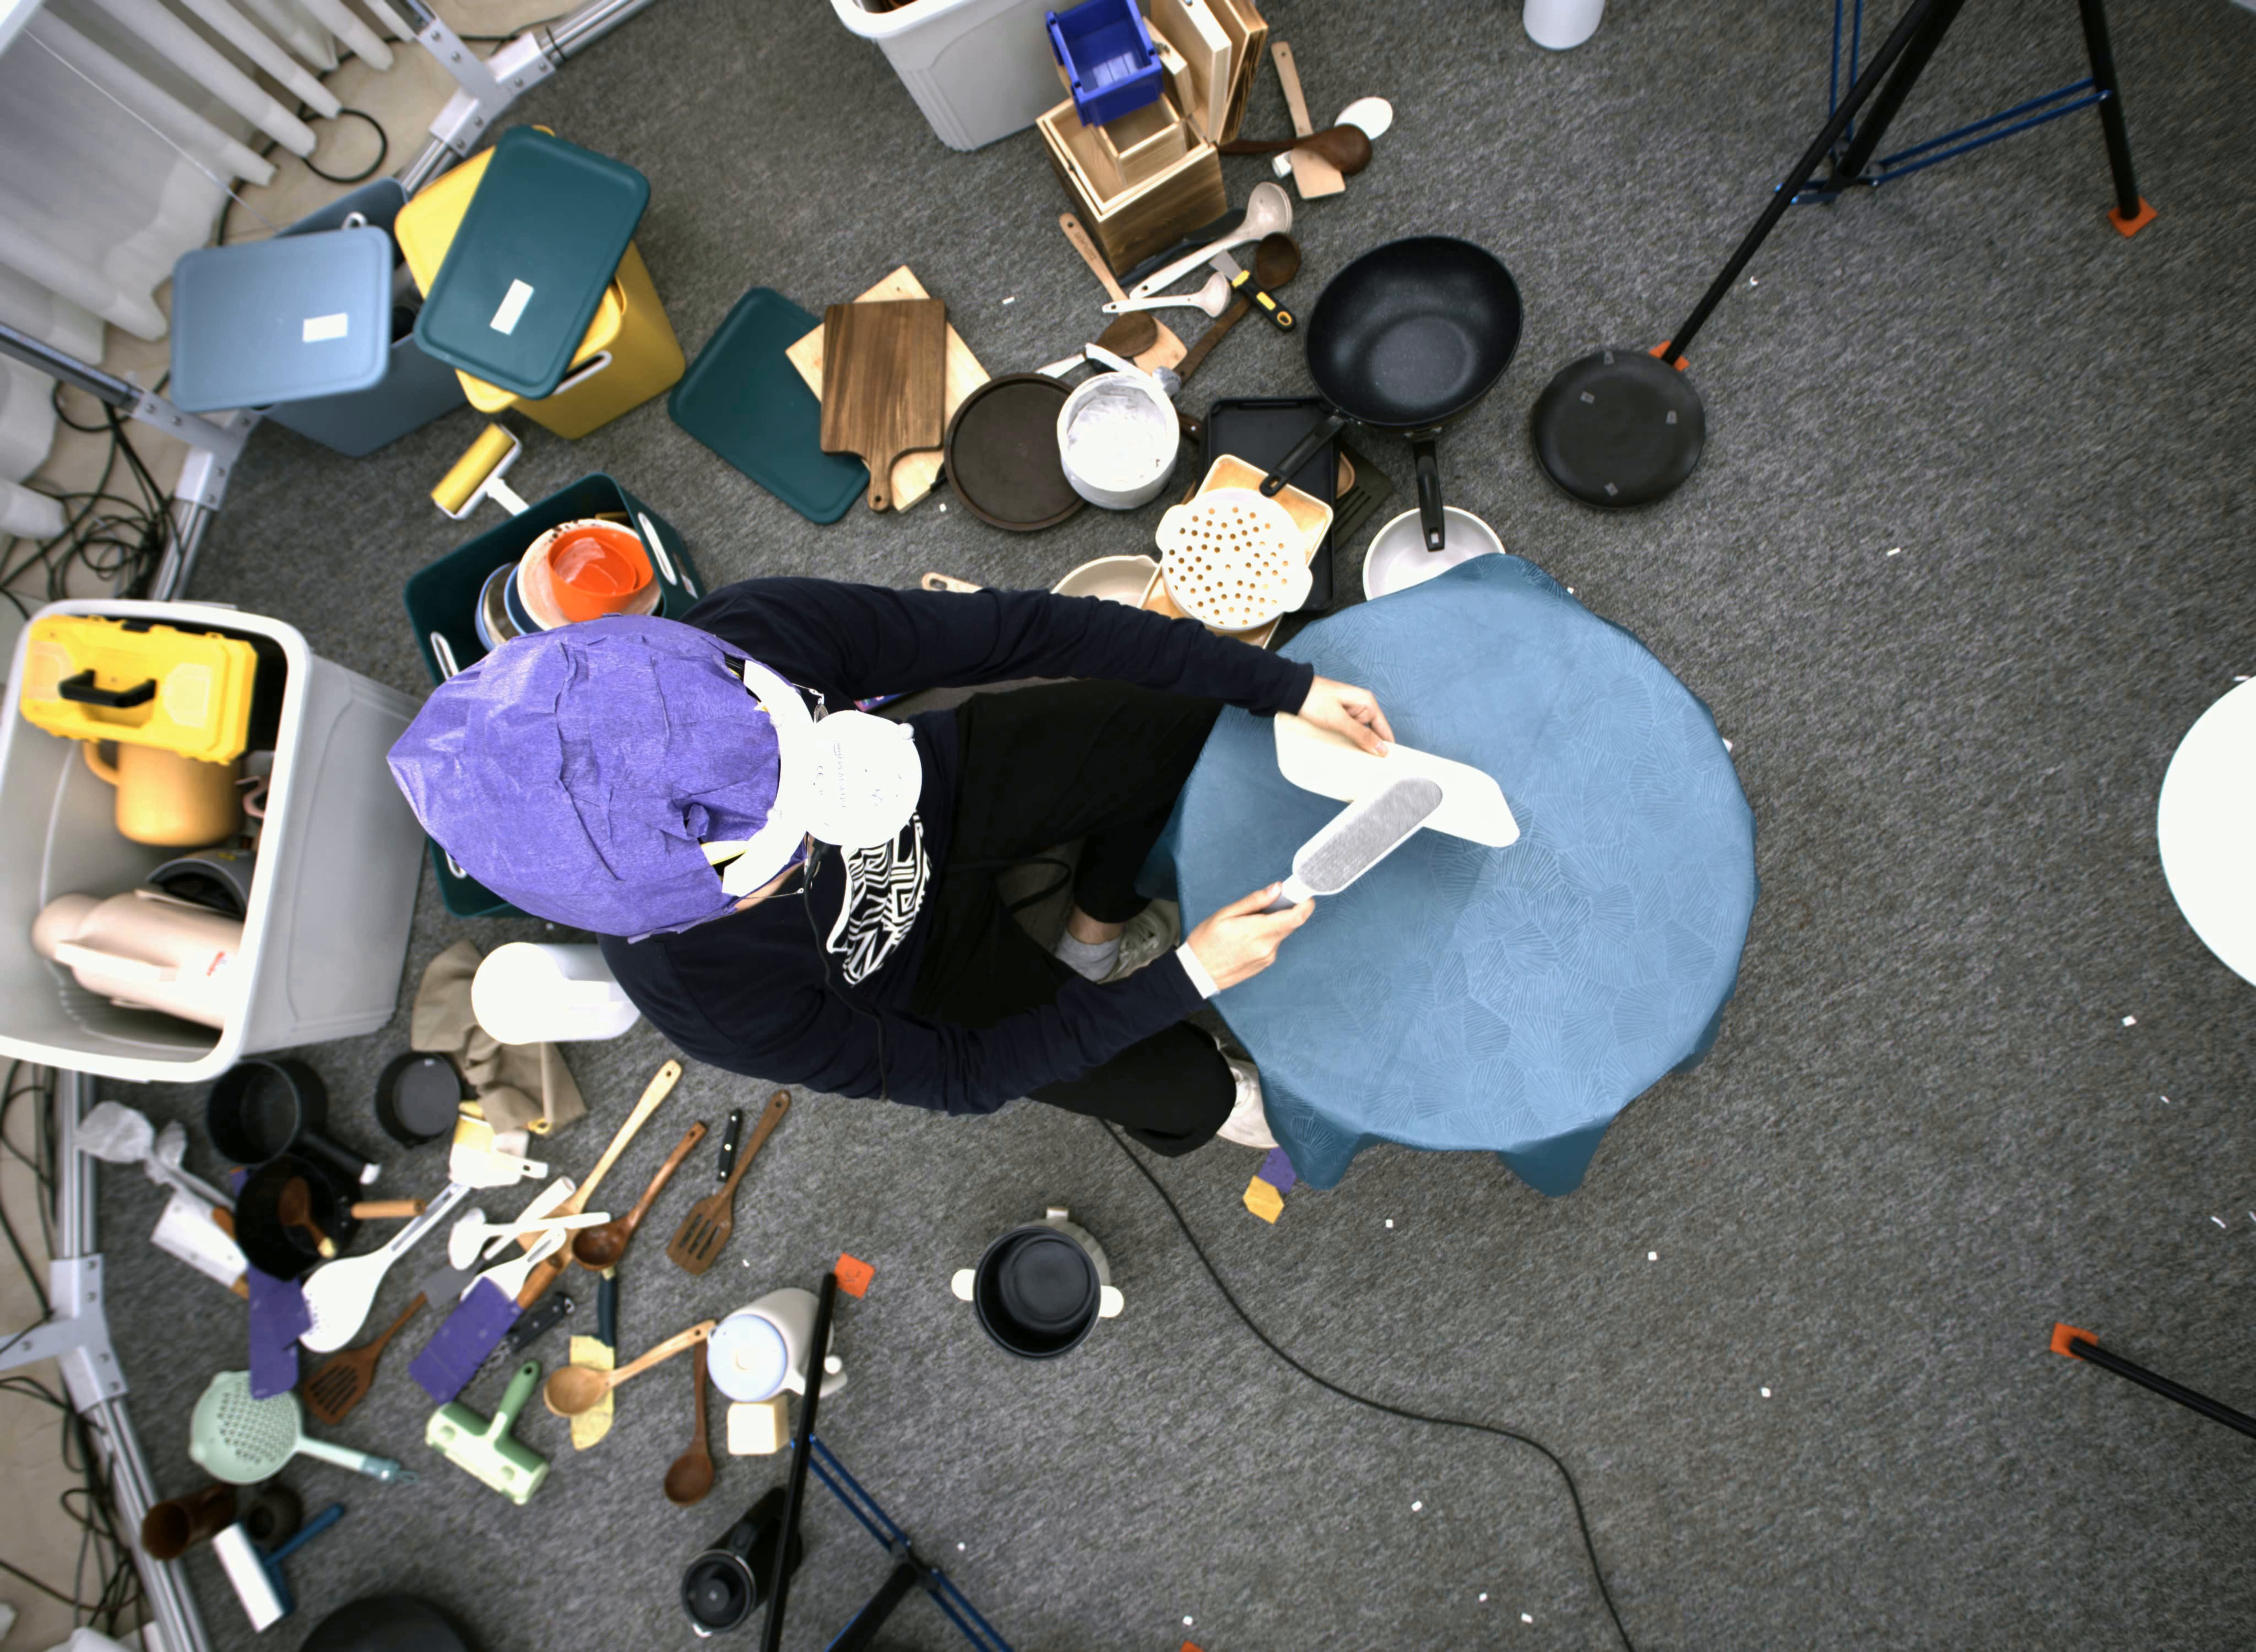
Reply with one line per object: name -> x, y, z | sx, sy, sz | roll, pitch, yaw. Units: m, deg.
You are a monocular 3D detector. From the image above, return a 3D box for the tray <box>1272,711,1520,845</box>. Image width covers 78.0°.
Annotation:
tray -> 0.254, -0.048, 1.333 | 0.240, 0.167, 0.018 | 16, 116, -5

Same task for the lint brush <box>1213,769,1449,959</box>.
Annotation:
lint brush -> 0.178, 0.041, 1.284 | 0.060, 0.020, 0.316 | 30, 132, -19
